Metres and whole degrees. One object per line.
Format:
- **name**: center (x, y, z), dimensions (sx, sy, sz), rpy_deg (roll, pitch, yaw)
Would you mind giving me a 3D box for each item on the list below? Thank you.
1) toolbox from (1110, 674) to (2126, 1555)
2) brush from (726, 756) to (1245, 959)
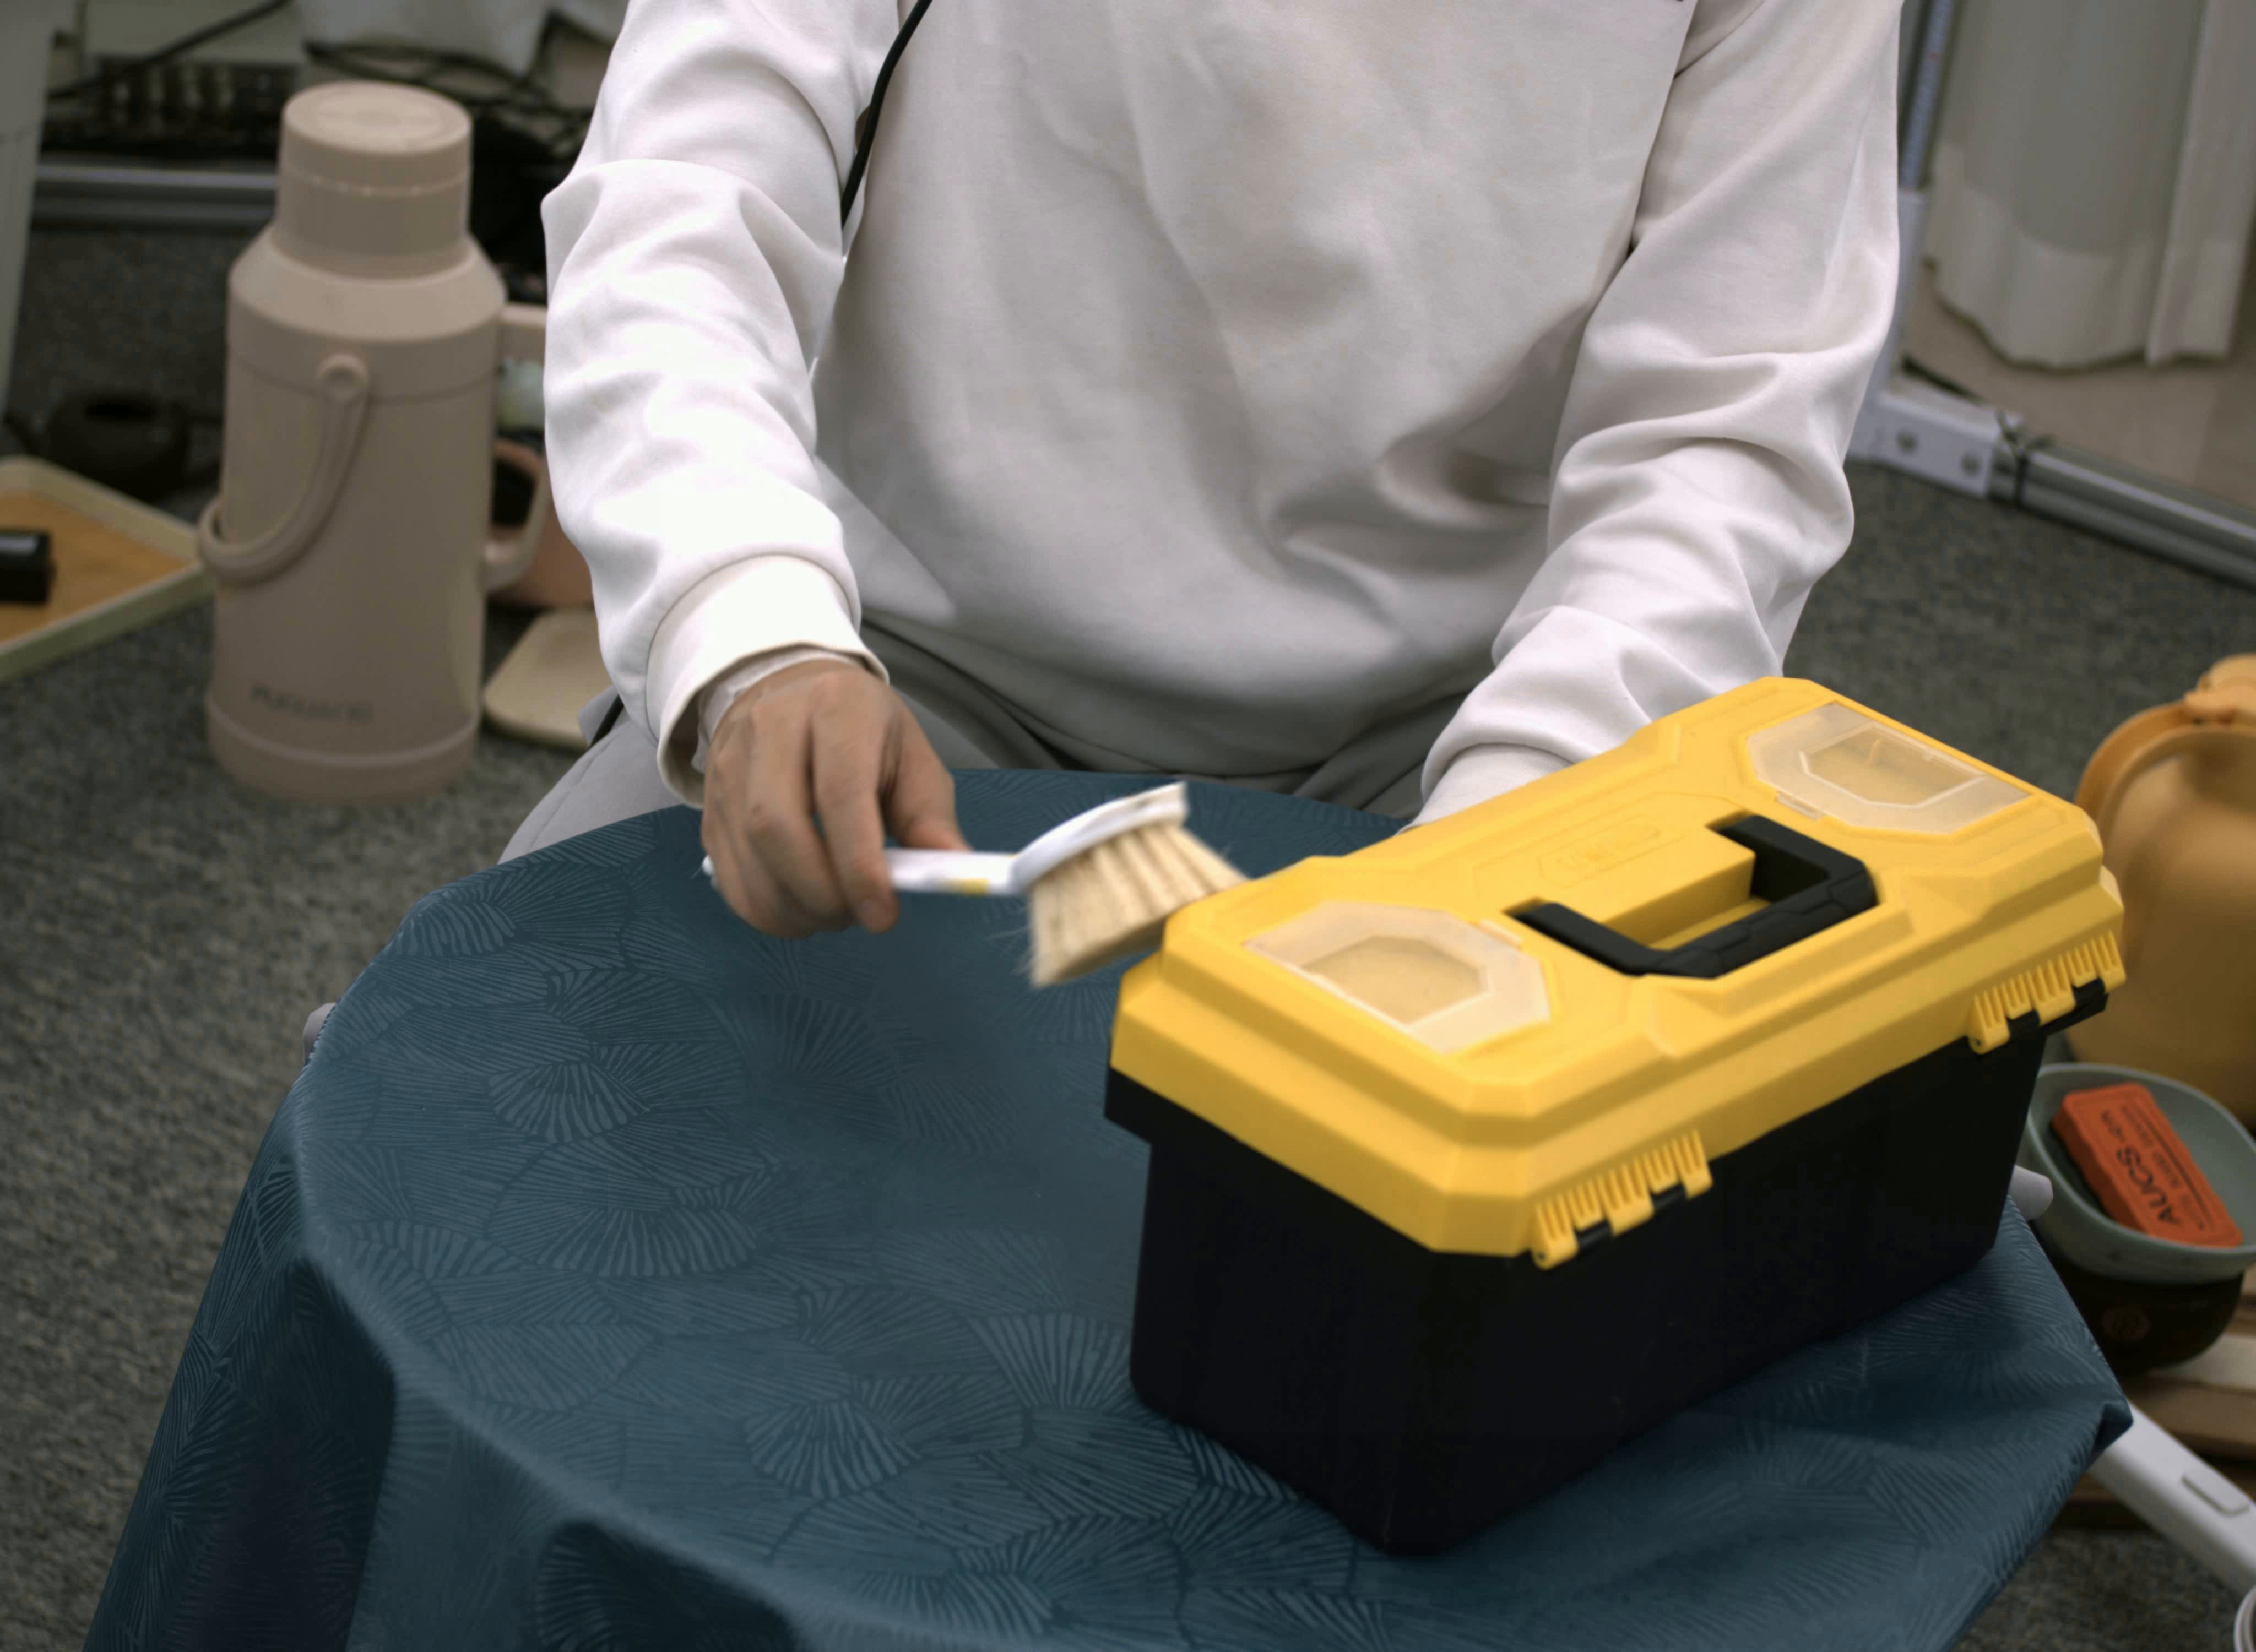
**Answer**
- **toolbox**: center (0.156, 0.087, 1.724), dimensions (0.182, 0.172, 0.350), rpy_deg (29, 34, 35)
- **brush**: center (-0.054, 0.025, 1.745), dimensions (0.068, 0.056, 0.267), rpy_deg (-1, -9, -35)
